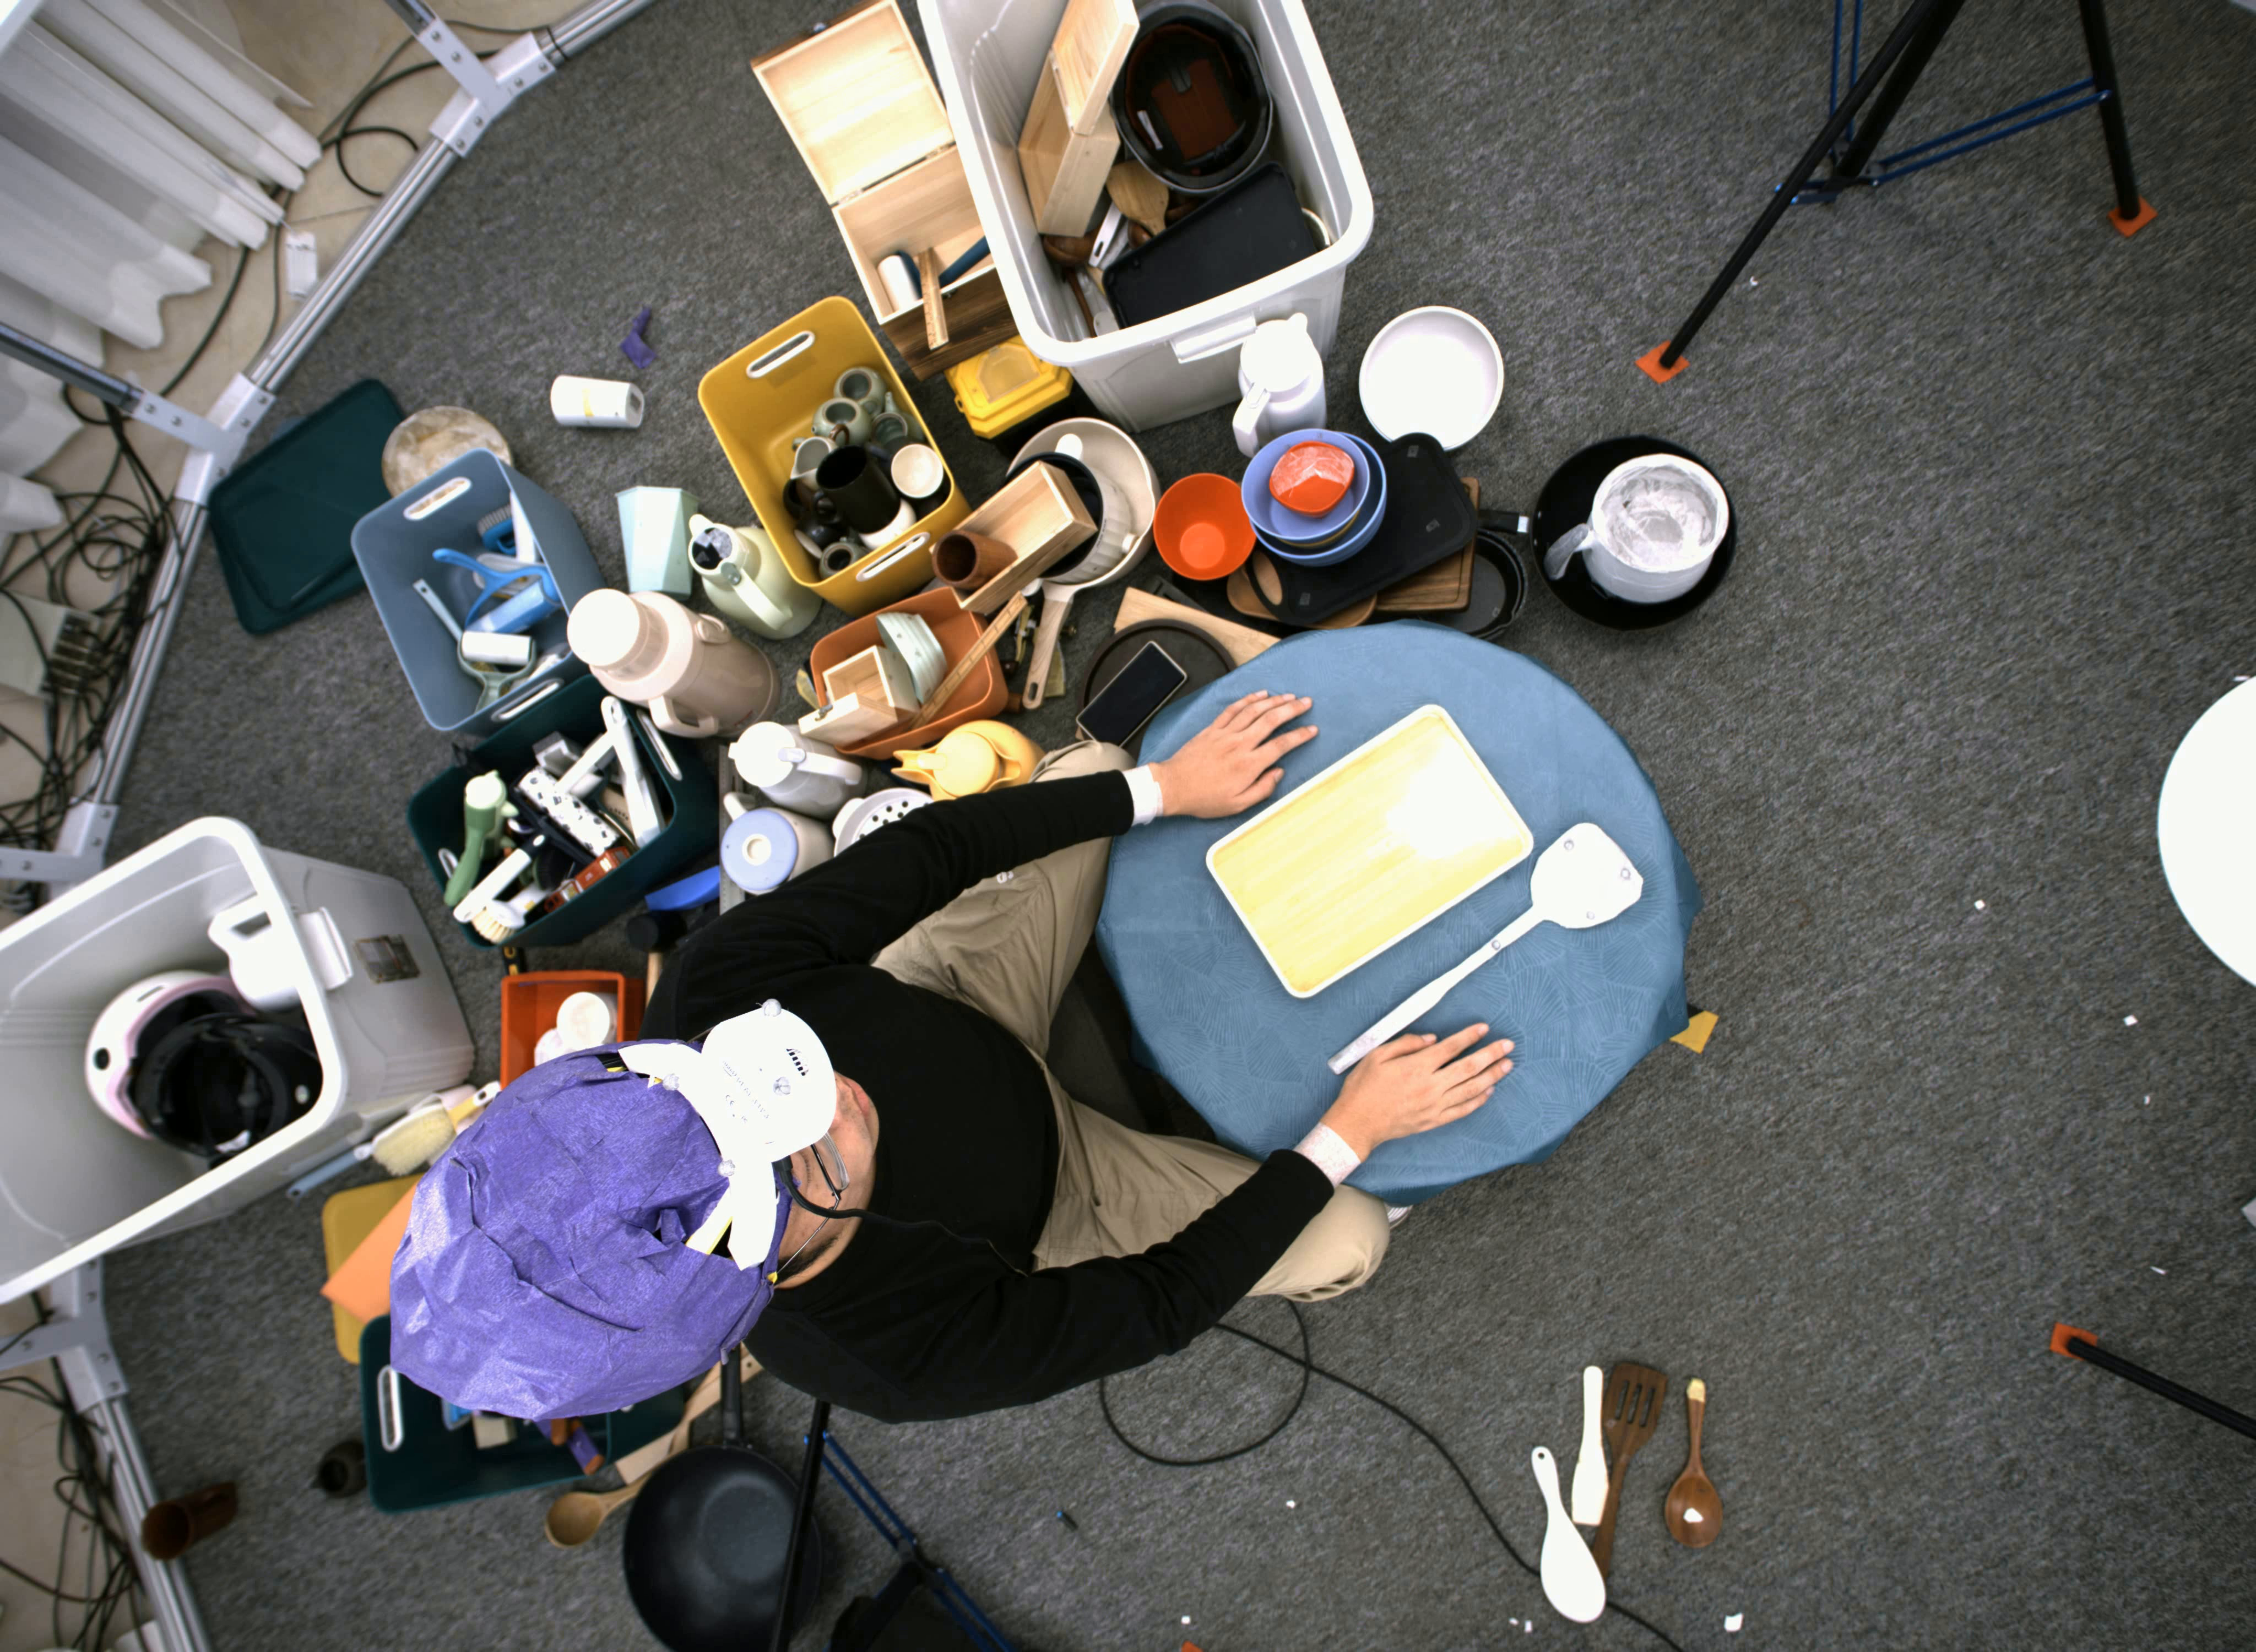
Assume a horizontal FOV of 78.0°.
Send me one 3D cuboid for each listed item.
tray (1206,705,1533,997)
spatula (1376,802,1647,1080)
[{"bbox_3d":[0.251,0.025,1.453,0.302,0.027,0.190,-33,82,7],"label":"tray"},{"bbox_3d":[0.381,0.131,1.416,0.367,0.045,0.097,-48,63,8],"label":"spatula"}]
